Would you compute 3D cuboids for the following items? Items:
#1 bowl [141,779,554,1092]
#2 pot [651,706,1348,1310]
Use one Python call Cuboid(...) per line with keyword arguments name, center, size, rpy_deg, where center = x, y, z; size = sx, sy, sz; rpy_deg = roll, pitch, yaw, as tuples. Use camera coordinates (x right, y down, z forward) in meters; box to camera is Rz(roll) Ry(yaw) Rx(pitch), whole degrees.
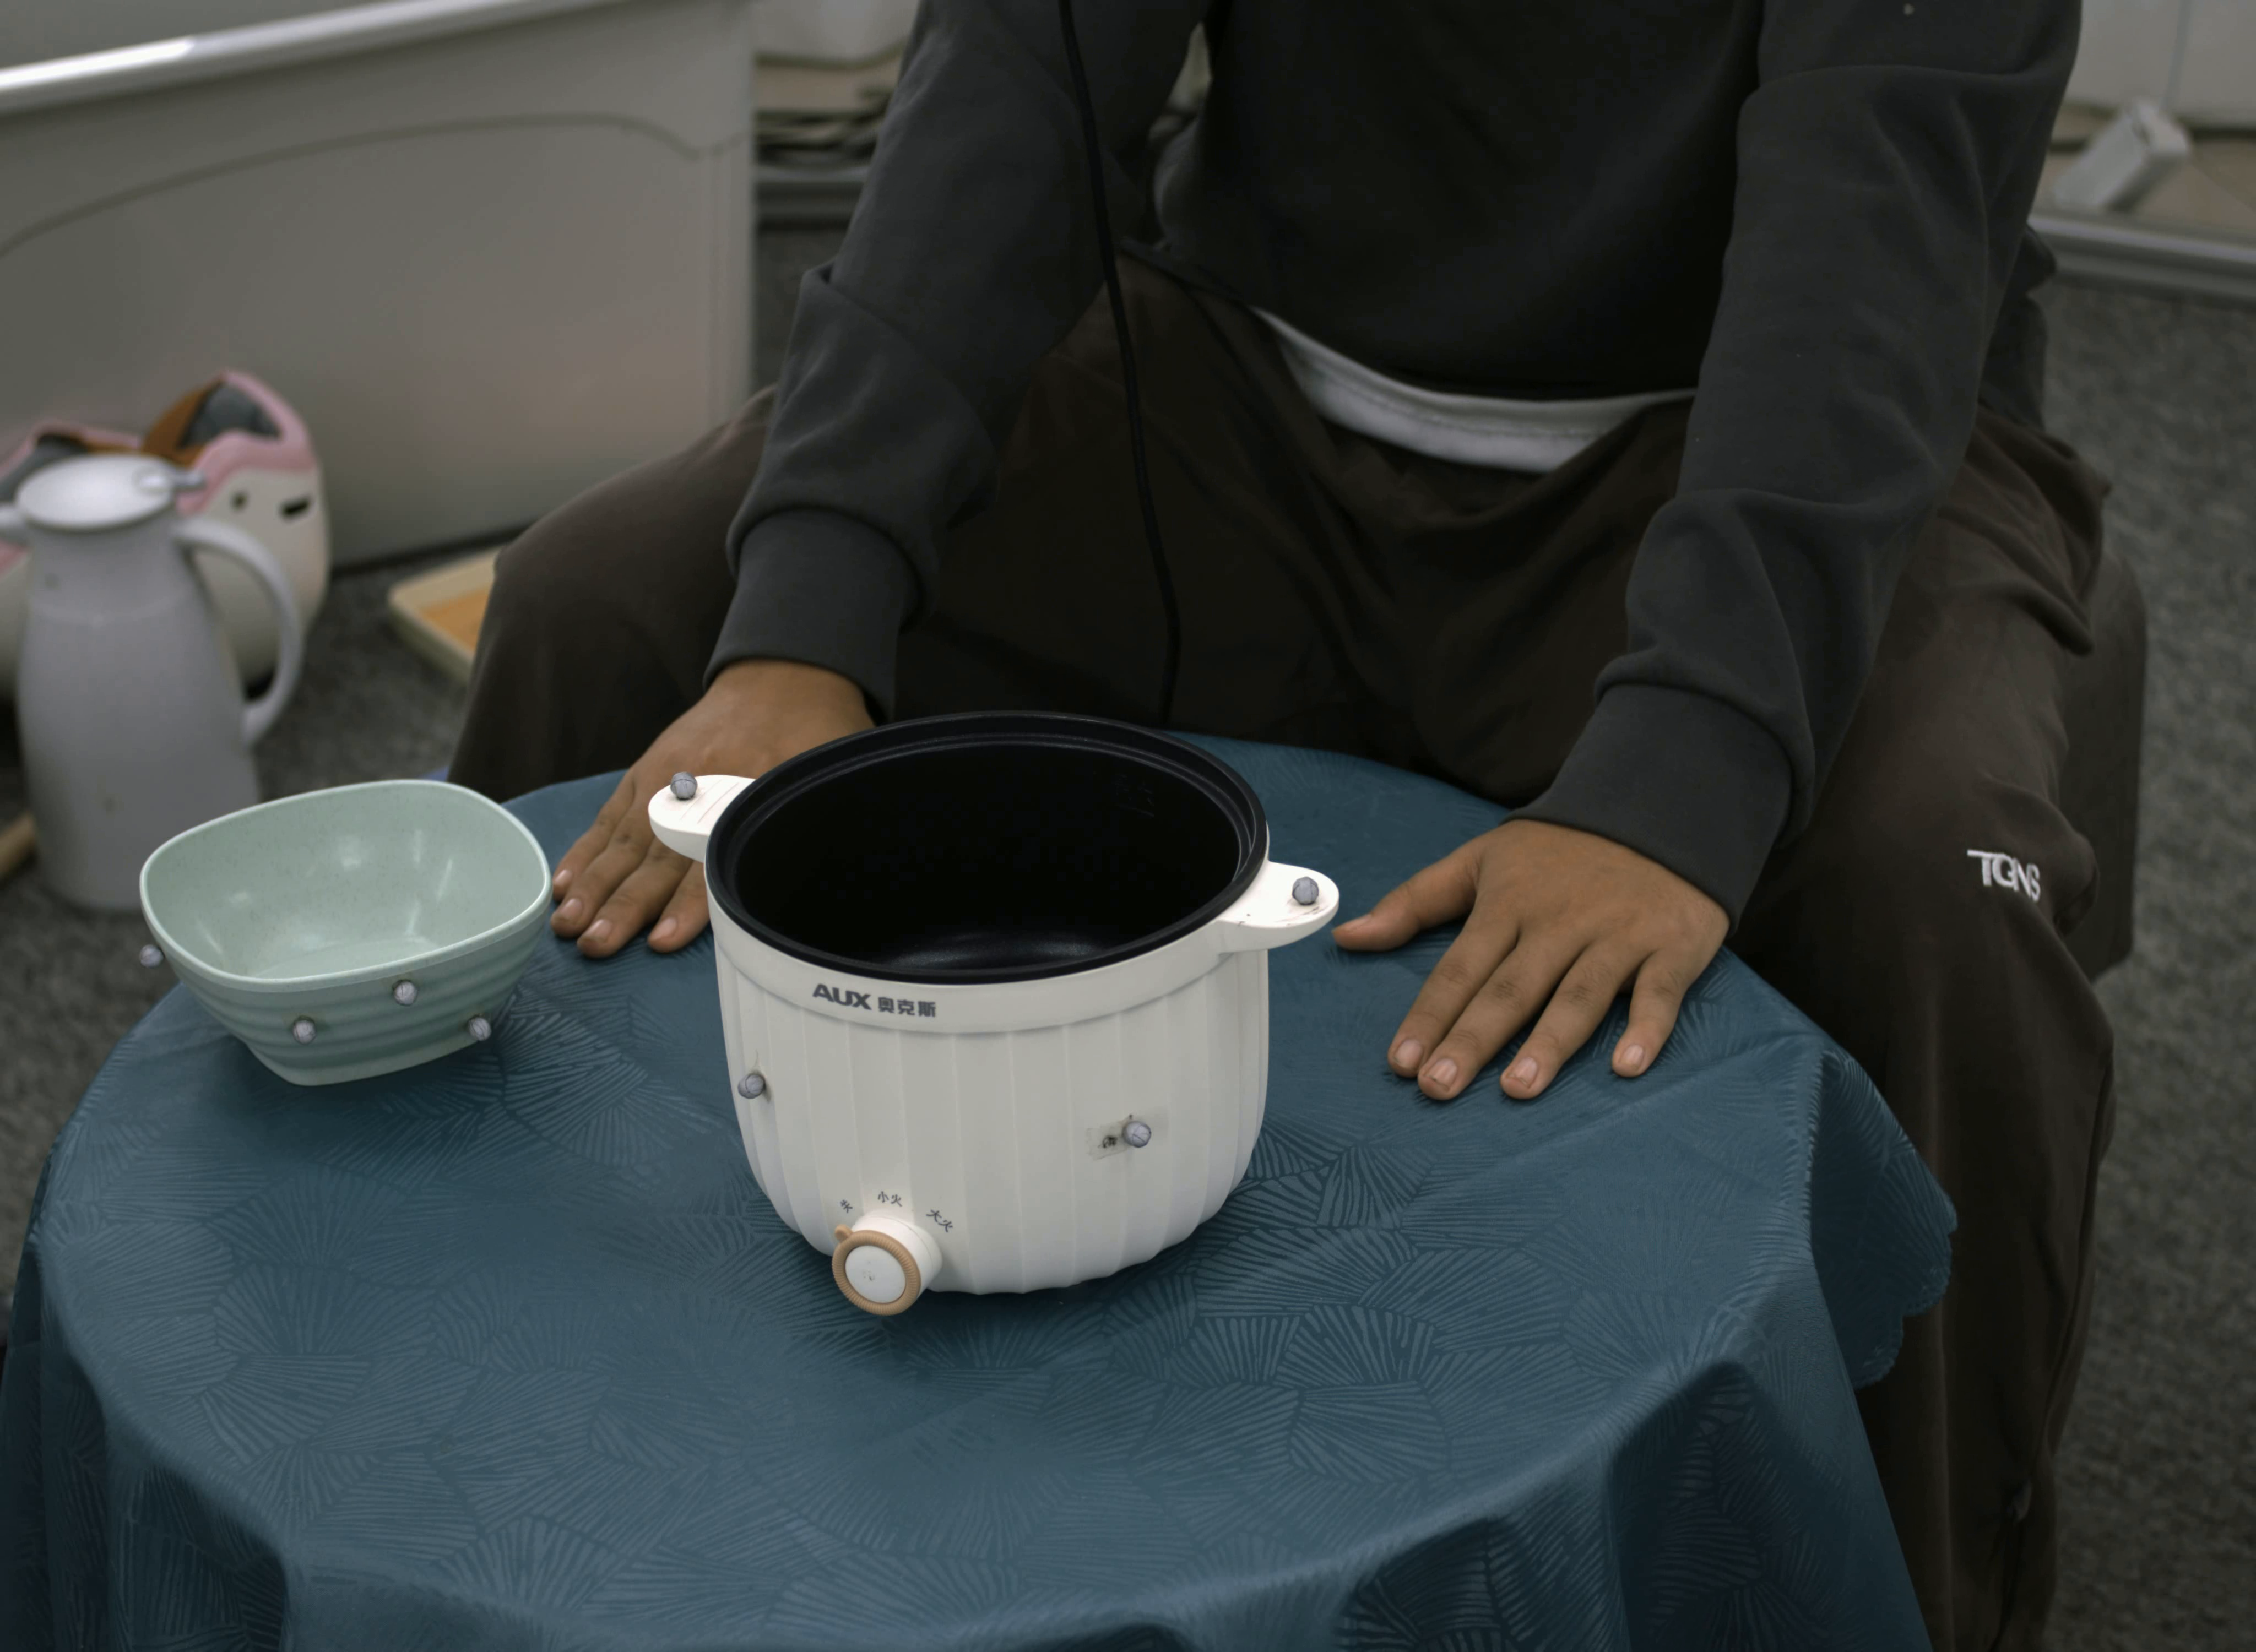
Cuboid(name="bowl", center=(-0.272, 0.045, 1.978), size=(0.151, 0.058, 0.154), rpy_deg=(-1, 29, 1))
Cuboid(name="pot", center=(-0.041, 0.063, 1.831), size=(0.238, 0.141, 0.193), rpy_deg=(6, 25, 21))
